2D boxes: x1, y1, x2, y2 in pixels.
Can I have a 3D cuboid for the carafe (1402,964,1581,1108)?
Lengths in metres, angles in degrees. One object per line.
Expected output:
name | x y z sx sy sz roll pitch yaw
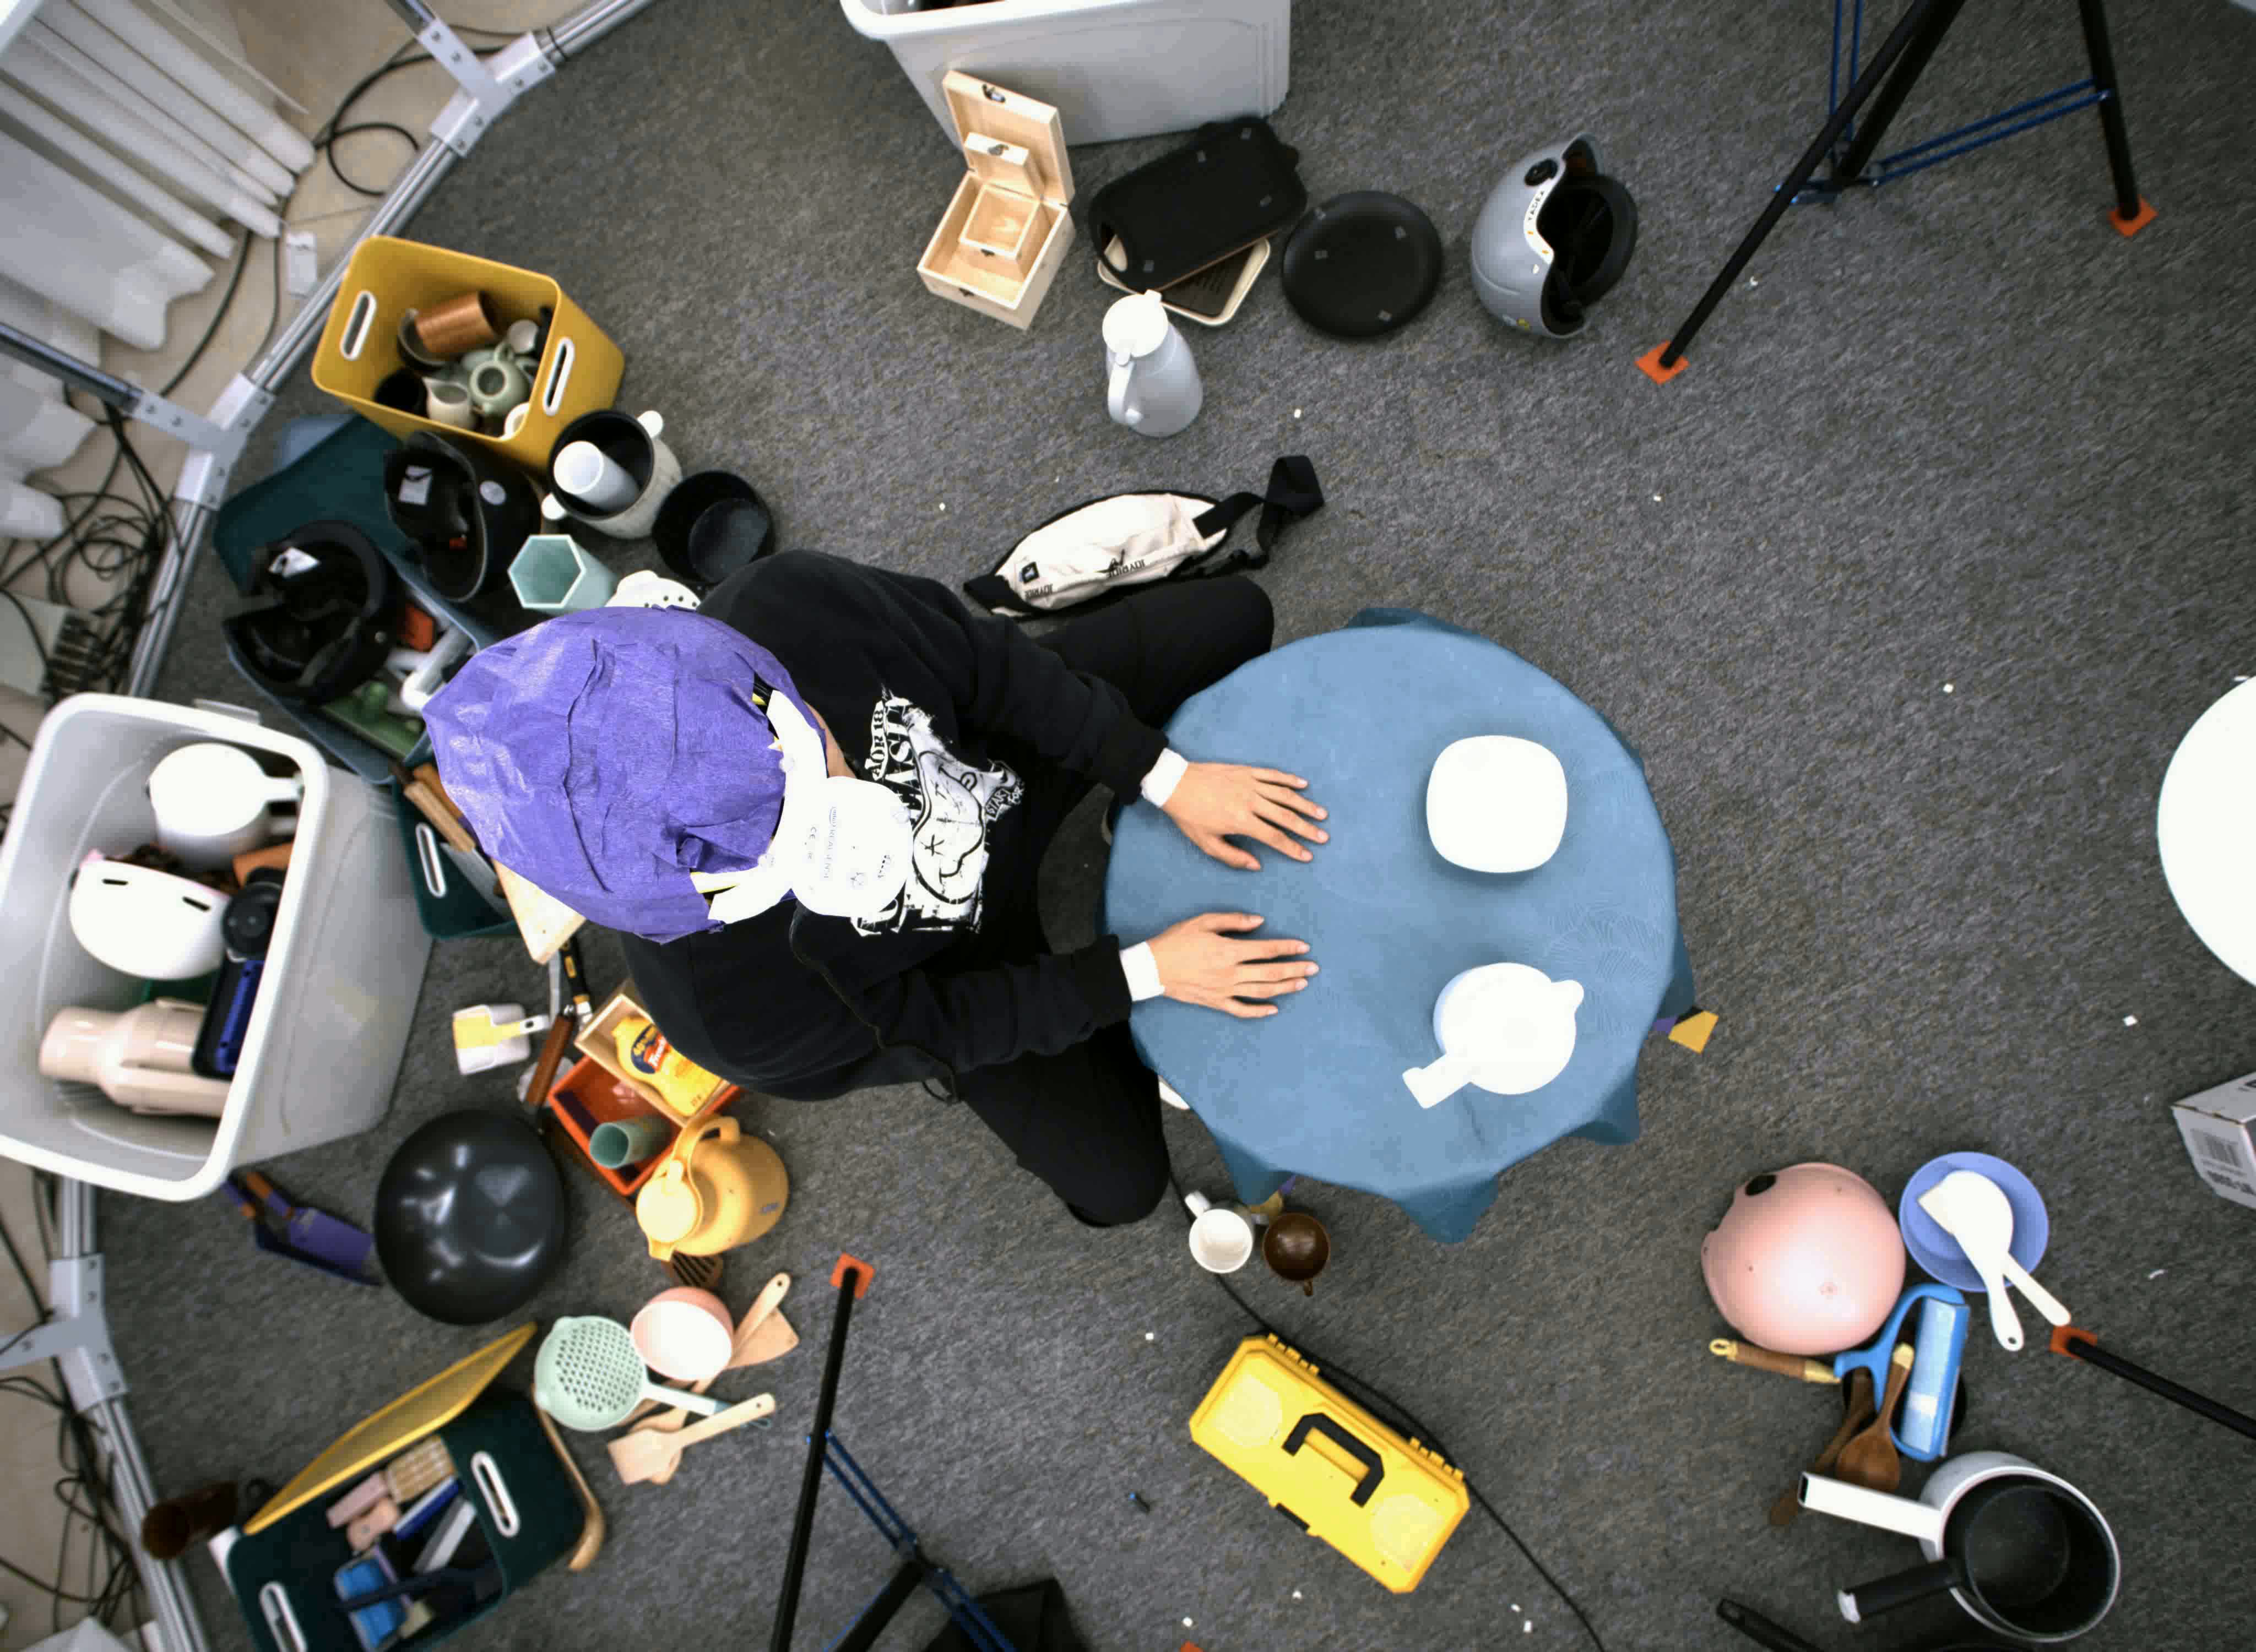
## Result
carafe | 0.339 0.199 1.307 0.174 0.269 0.123 -36 82 6

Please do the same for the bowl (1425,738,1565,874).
bowl | 0.377 -0.020 1.418 0.152 0.058 0.151 -1 86 11
